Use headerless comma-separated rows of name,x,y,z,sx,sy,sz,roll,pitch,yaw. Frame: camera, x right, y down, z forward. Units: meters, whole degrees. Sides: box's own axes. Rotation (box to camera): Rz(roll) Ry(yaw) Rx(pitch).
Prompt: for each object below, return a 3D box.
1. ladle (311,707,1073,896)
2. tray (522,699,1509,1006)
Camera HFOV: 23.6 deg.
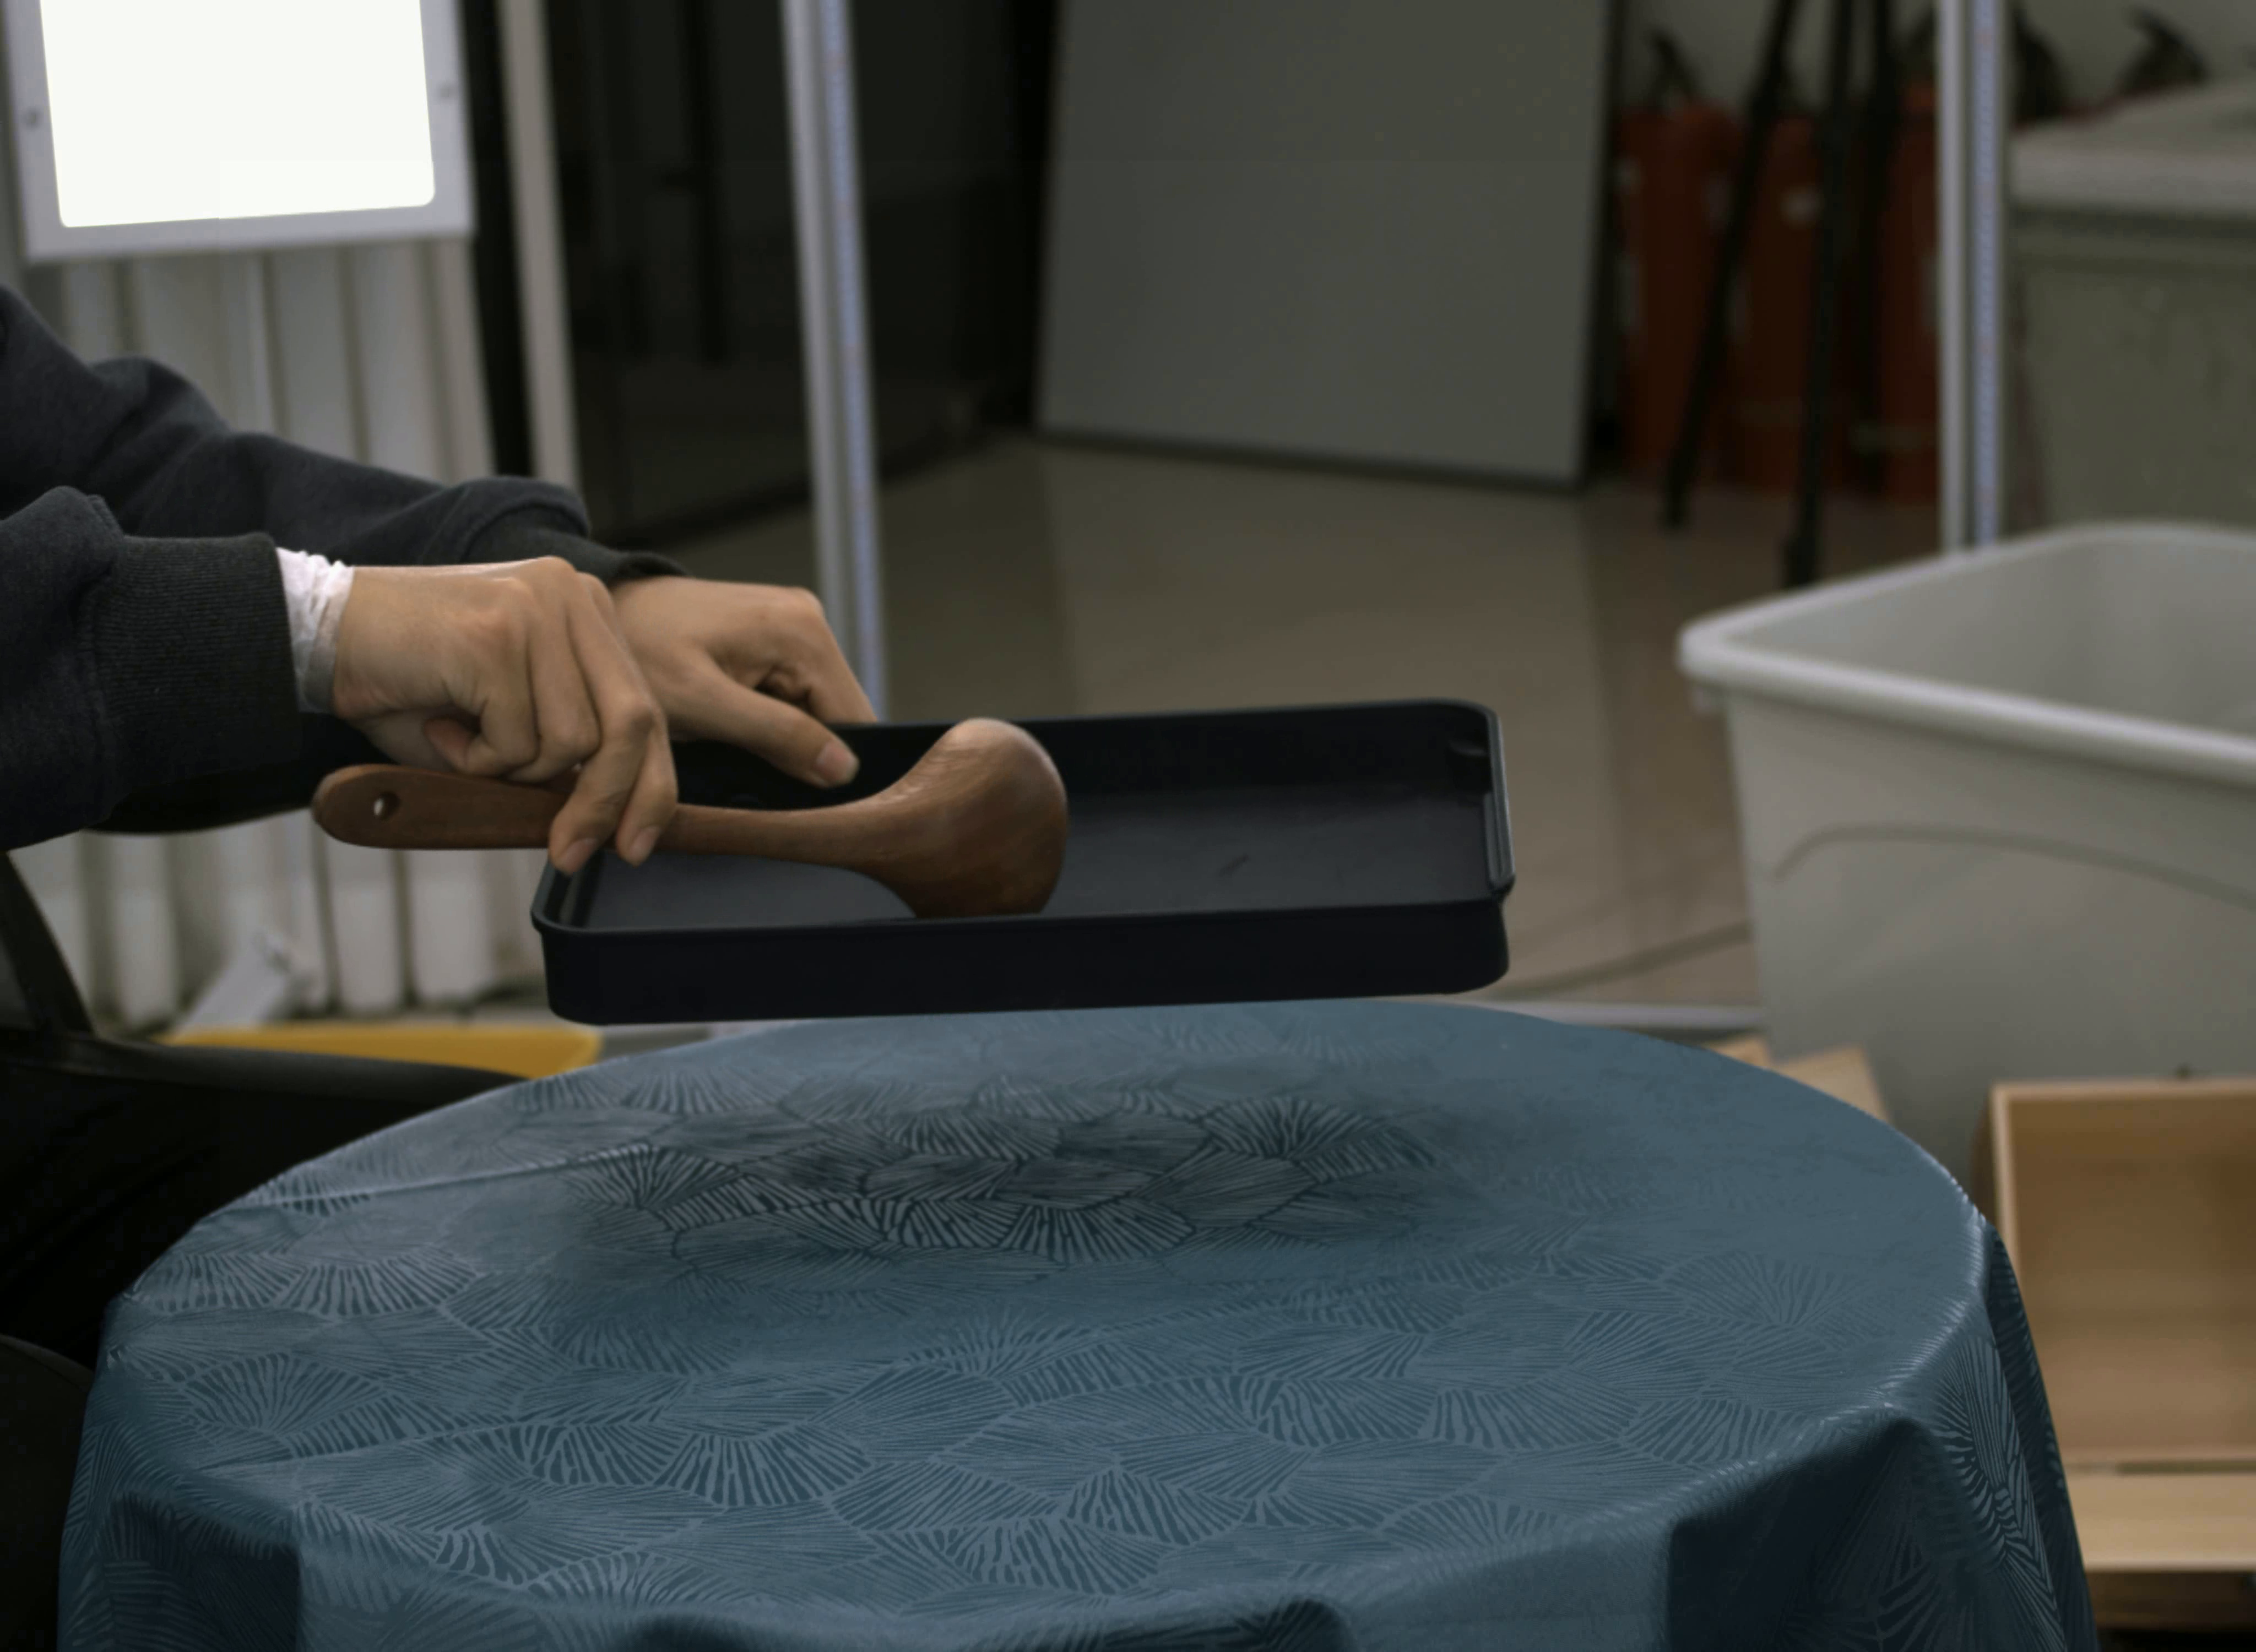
ladle,-0.135,-0.005,1.707,0.254,0.077,0.065,4,6,-19
tray,-0.033,0.007,1.782,0.314,0.037,0.184,-1,21,4
